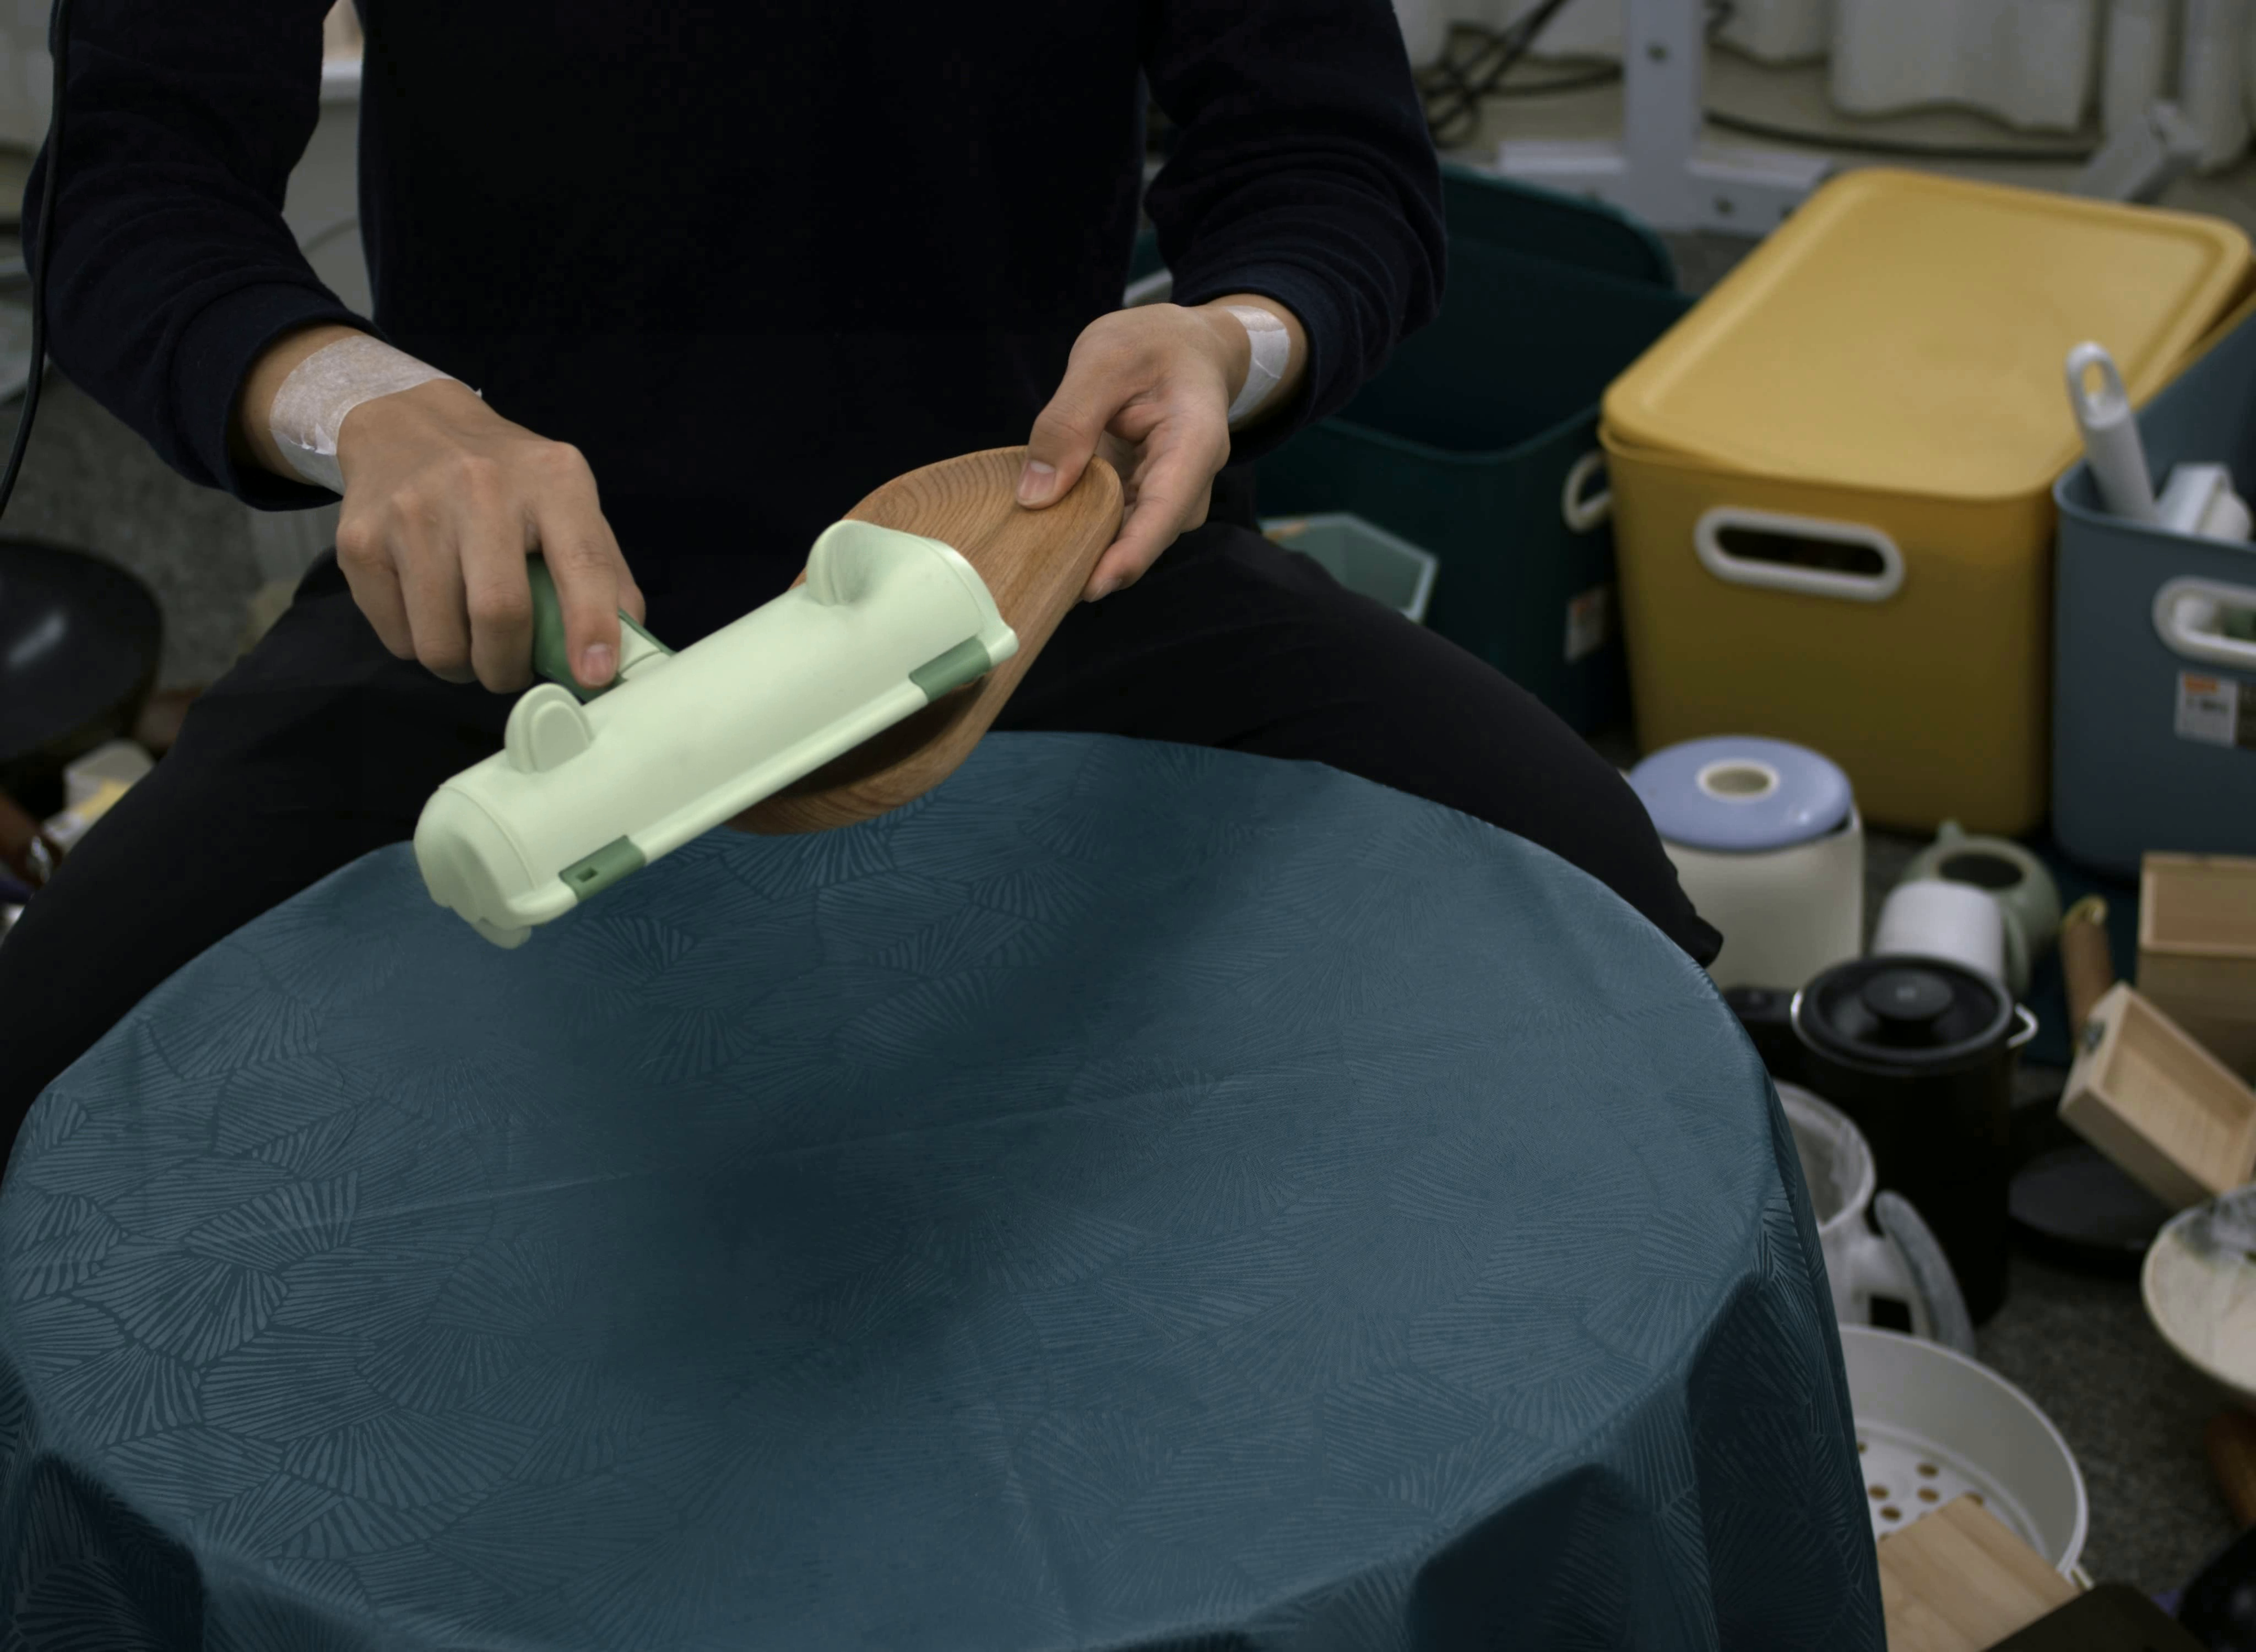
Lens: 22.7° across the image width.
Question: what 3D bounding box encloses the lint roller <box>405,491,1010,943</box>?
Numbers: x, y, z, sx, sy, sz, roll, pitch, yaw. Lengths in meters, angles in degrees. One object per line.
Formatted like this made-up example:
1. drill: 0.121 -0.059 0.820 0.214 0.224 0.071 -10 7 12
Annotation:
1. lint roller: -0.165 -0.068 1.745 0.201 0.081 0.184 -31 59 -31

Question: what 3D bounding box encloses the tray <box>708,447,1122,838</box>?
1. tray: -0.071 -0.062 1.824 0.101 0.020 0.235 -3 32 23
